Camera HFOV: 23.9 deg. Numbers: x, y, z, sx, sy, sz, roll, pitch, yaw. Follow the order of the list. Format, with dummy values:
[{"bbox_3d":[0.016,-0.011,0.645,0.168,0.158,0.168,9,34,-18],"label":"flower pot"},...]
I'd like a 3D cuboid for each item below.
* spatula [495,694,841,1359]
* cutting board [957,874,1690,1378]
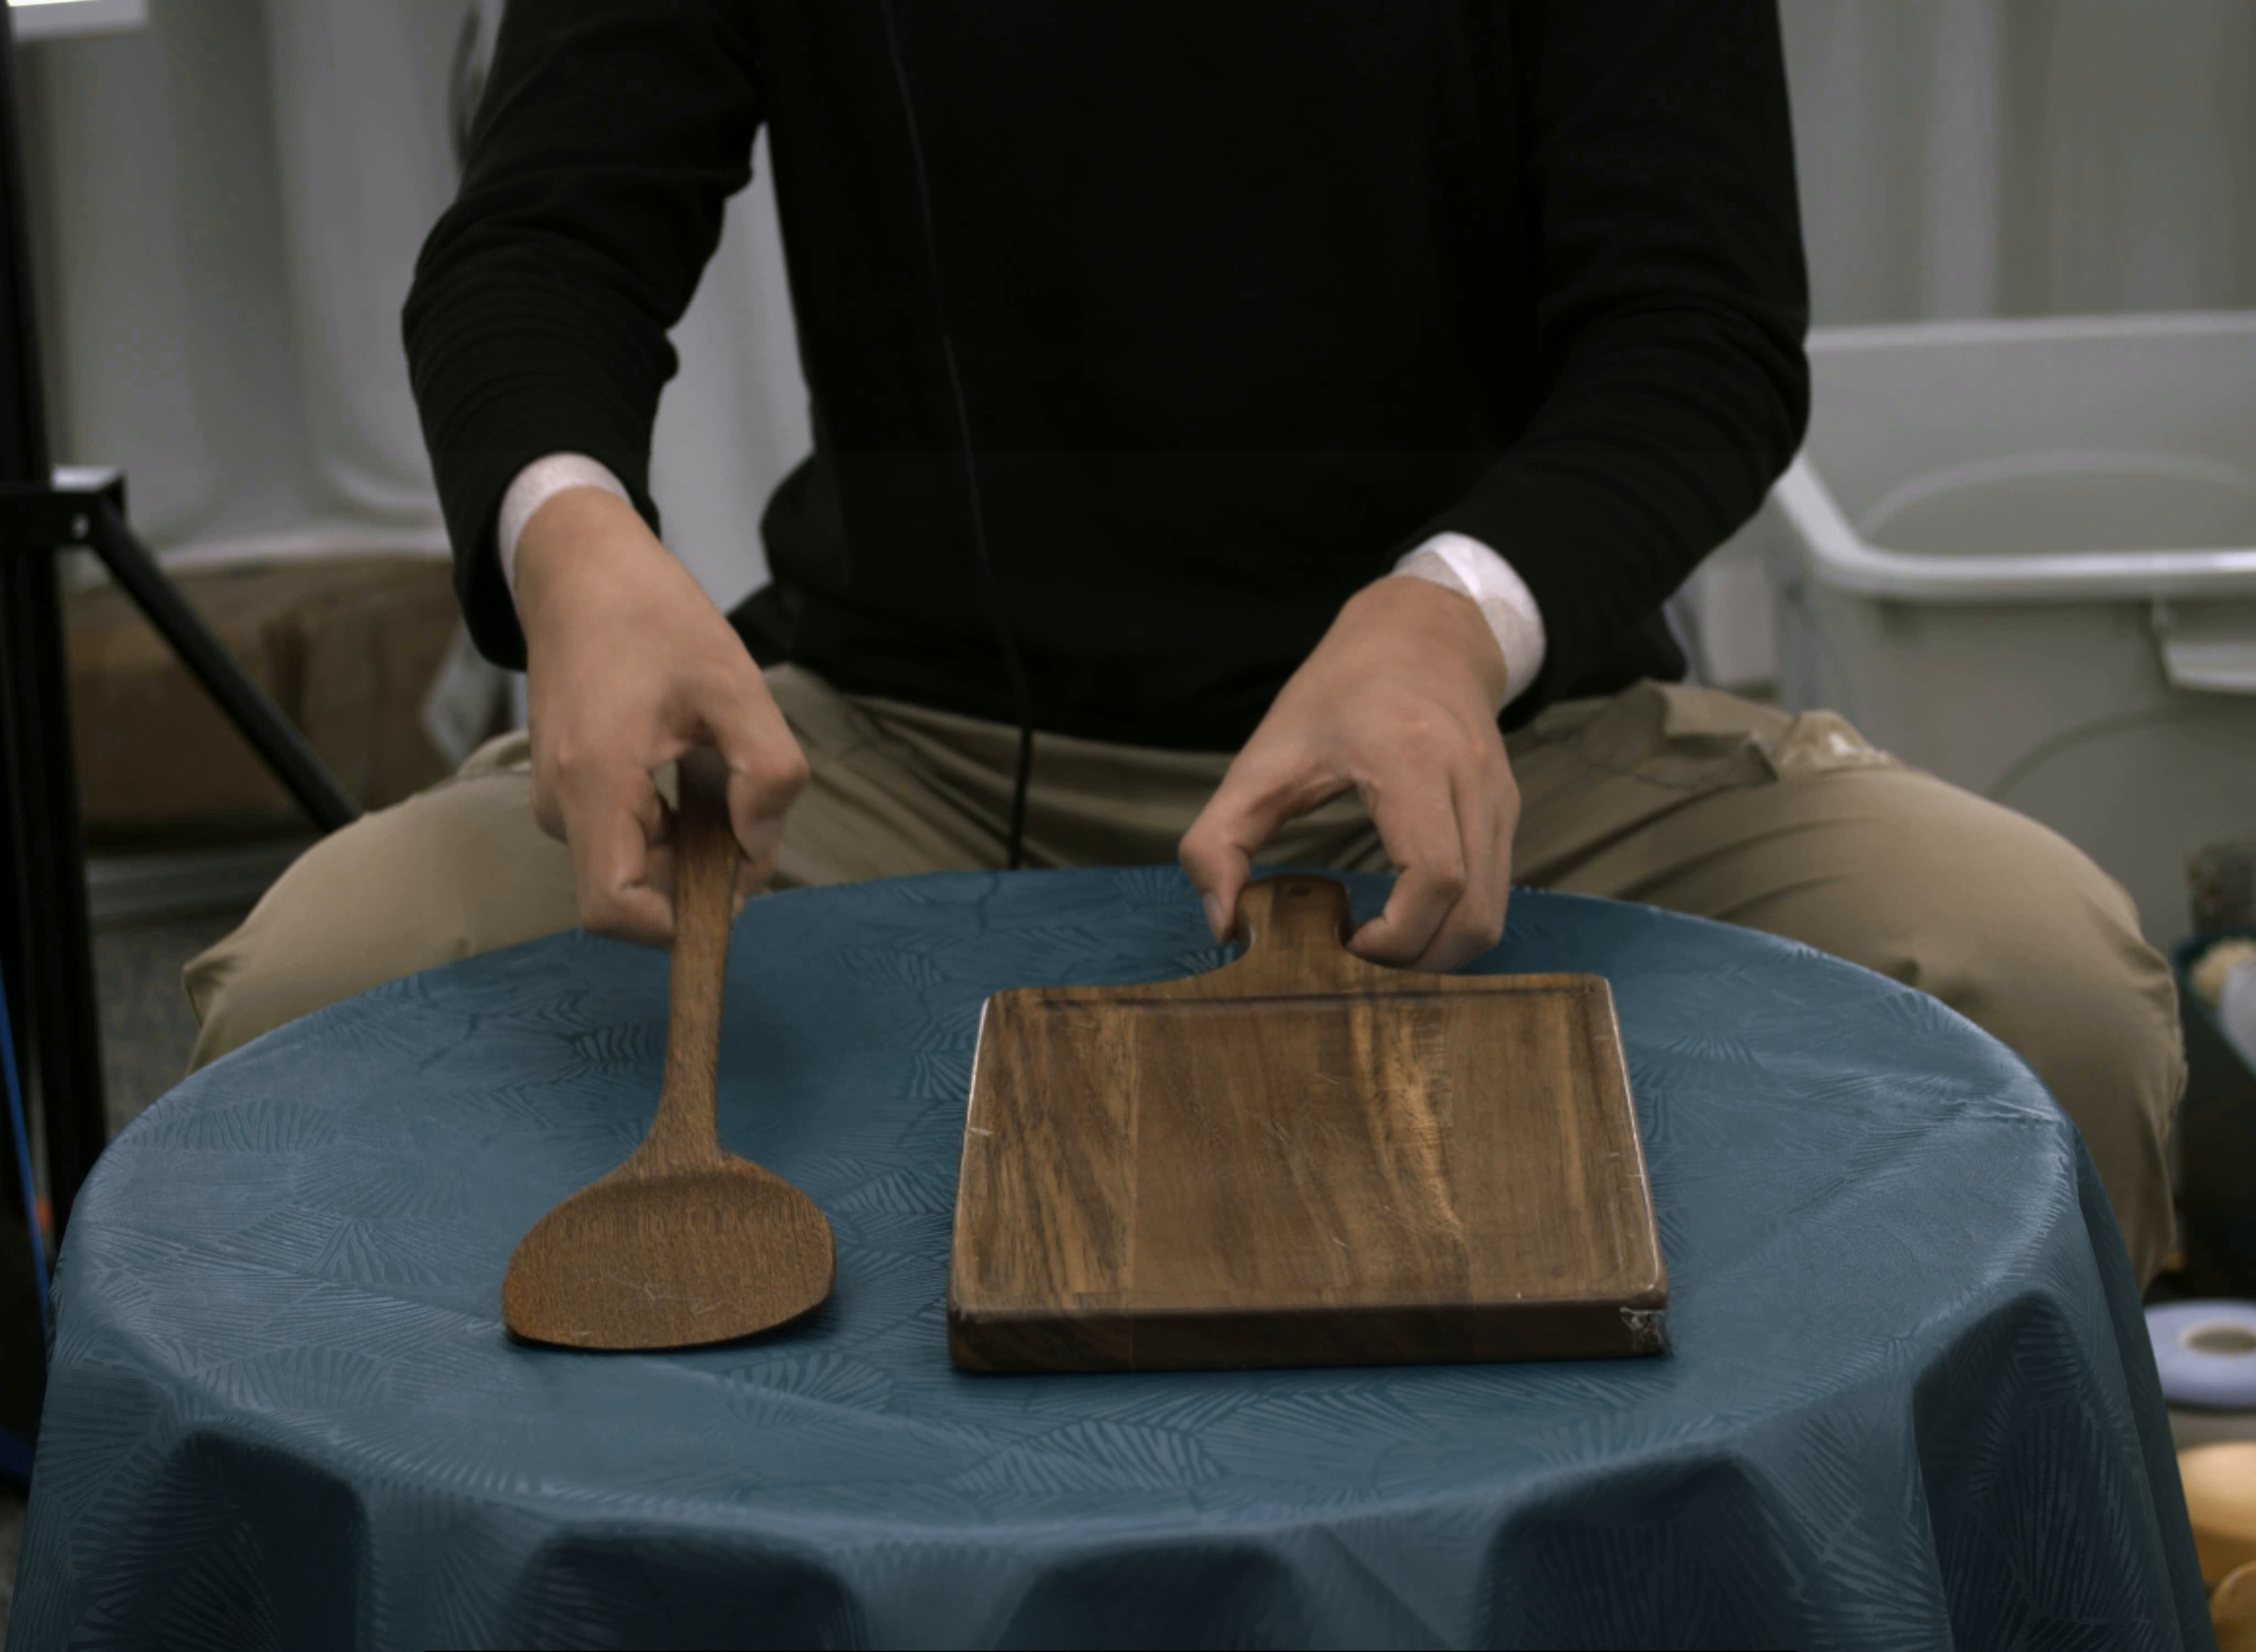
[{"bbox_3d":[-0.129,0.050,1.619,0.096,0.015,0.389,-5,30,2],"label":"spatula"},{"bbox_3d":[0.052,0.081,1.577,0.200,0.023,0.353,-2,18,2],"label":"cutting board"}]
